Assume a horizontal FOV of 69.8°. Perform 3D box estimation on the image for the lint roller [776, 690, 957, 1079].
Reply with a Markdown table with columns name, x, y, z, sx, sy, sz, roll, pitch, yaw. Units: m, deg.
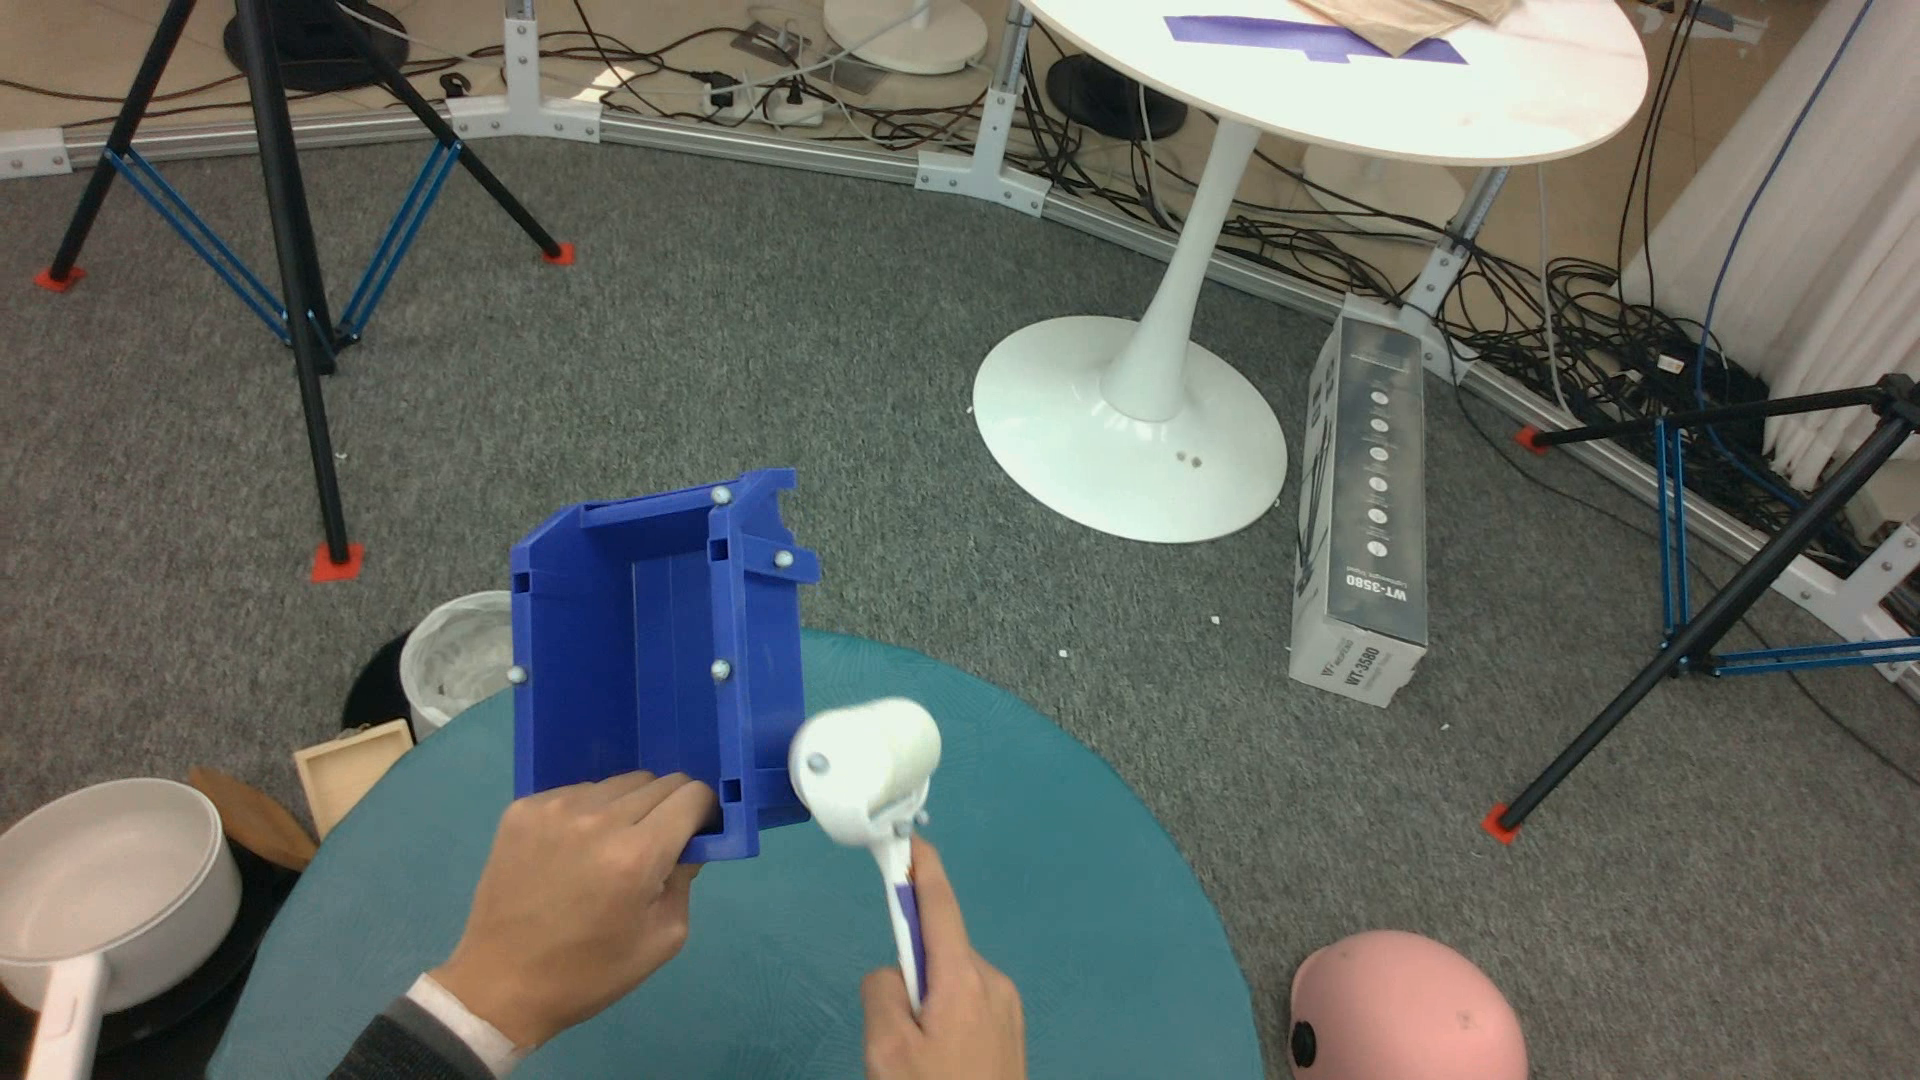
| name | x | y | z | sx | sy | sz | roll | pitch | yaw |
| --- | --- | --- | --- | --- | --- | --- | --- | --- | --- |
| lint roller | -0.024 | 0.156 | 0.631 | 0.050 | 0.133 | 0.181 | -25 | 81 | 8 |

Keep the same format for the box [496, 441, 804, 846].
| name | x | y | z | sx | sy | sz | roll | pitch | yaw |
| --- | --- | --- | --- | --- | --- | --- | --- | --- | --- |
| box | -0.145 | 0.046 | 0.649 | 0.124 | 0.082 | 0.179 | -8 | 82 | 21 |
